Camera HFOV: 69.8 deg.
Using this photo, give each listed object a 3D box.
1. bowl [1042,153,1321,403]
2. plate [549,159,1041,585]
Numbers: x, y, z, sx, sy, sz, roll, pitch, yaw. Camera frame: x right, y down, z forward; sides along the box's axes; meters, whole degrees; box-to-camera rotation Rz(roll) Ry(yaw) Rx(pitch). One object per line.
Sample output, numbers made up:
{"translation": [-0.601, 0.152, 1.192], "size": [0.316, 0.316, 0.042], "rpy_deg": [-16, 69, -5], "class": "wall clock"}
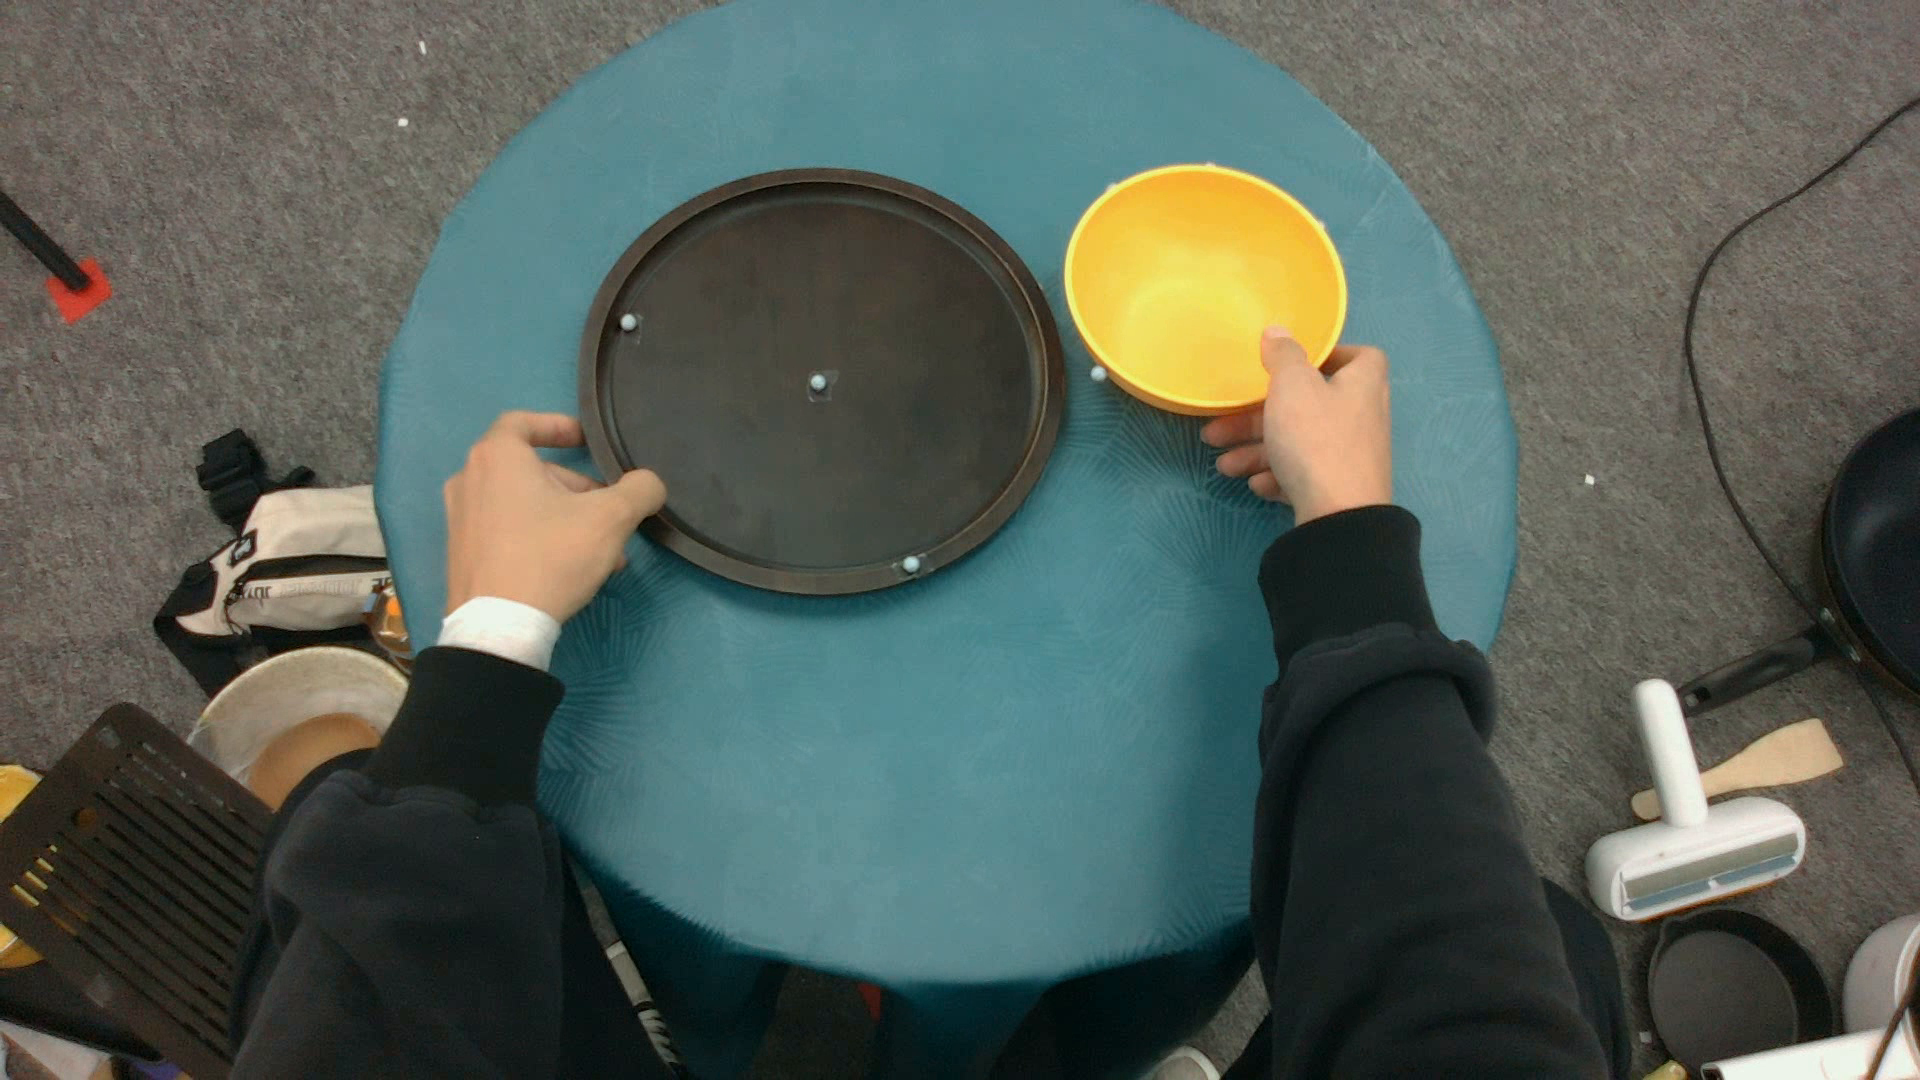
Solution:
{"translation": [0.113, -0.130, 0.735], "size": [0.145, 0.060, 0.146], "rpy_deg": [1, 70, -2], "class": "bowl"}
{"translation": [-0.084, -0.093, 0.721], "size": [0.255, 0.029, 0.255], "rpy_deg": [3, 68, -6], "class": "plate"}
